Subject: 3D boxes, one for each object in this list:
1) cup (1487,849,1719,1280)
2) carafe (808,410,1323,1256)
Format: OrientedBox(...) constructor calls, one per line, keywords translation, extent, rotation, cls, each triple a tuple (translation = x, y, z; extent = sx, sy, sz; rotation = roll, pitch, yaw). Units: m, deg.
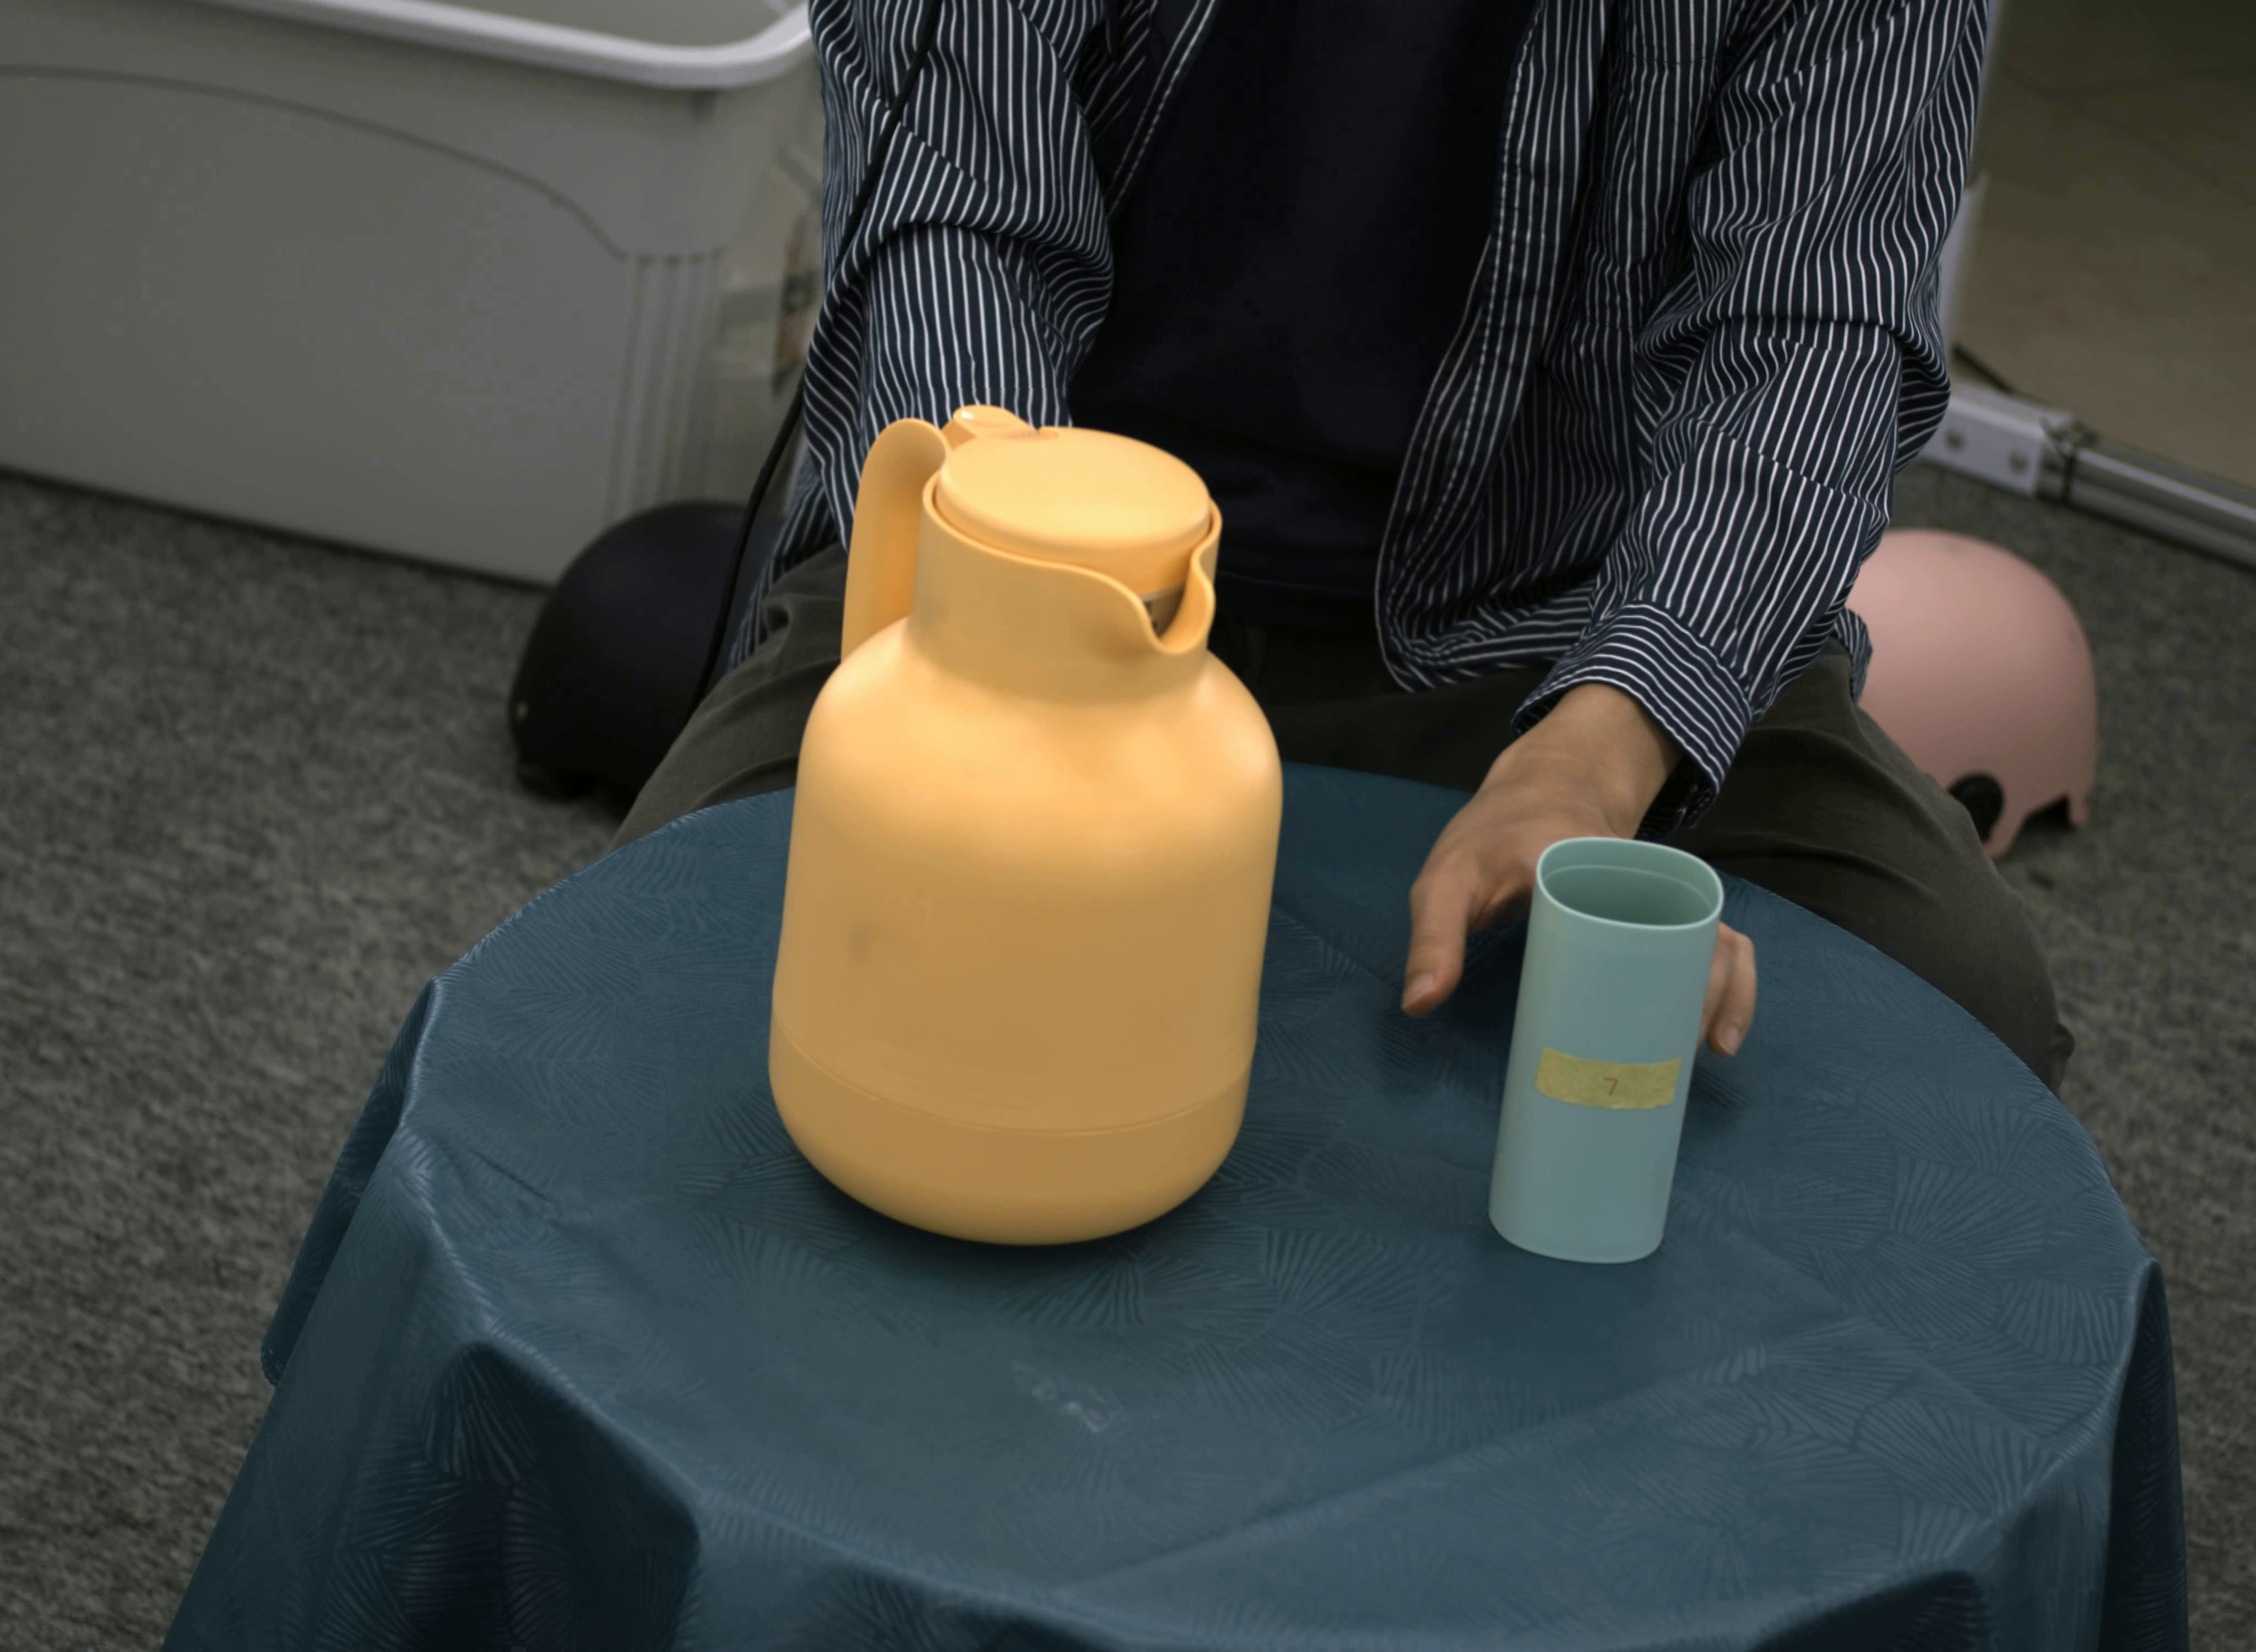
OrientedBox(translation=(0.158, 0.079, 1.786), extent=(0.066, 0.132, 0.067), rotation=(5, 26, -3), cls="cup")
OrientedBox(translation=(-0.026, -0.007, 1.765), extent=(0.162, 0.259, 0.204), rotation=(-9, 30, -31), cls="carafe")
